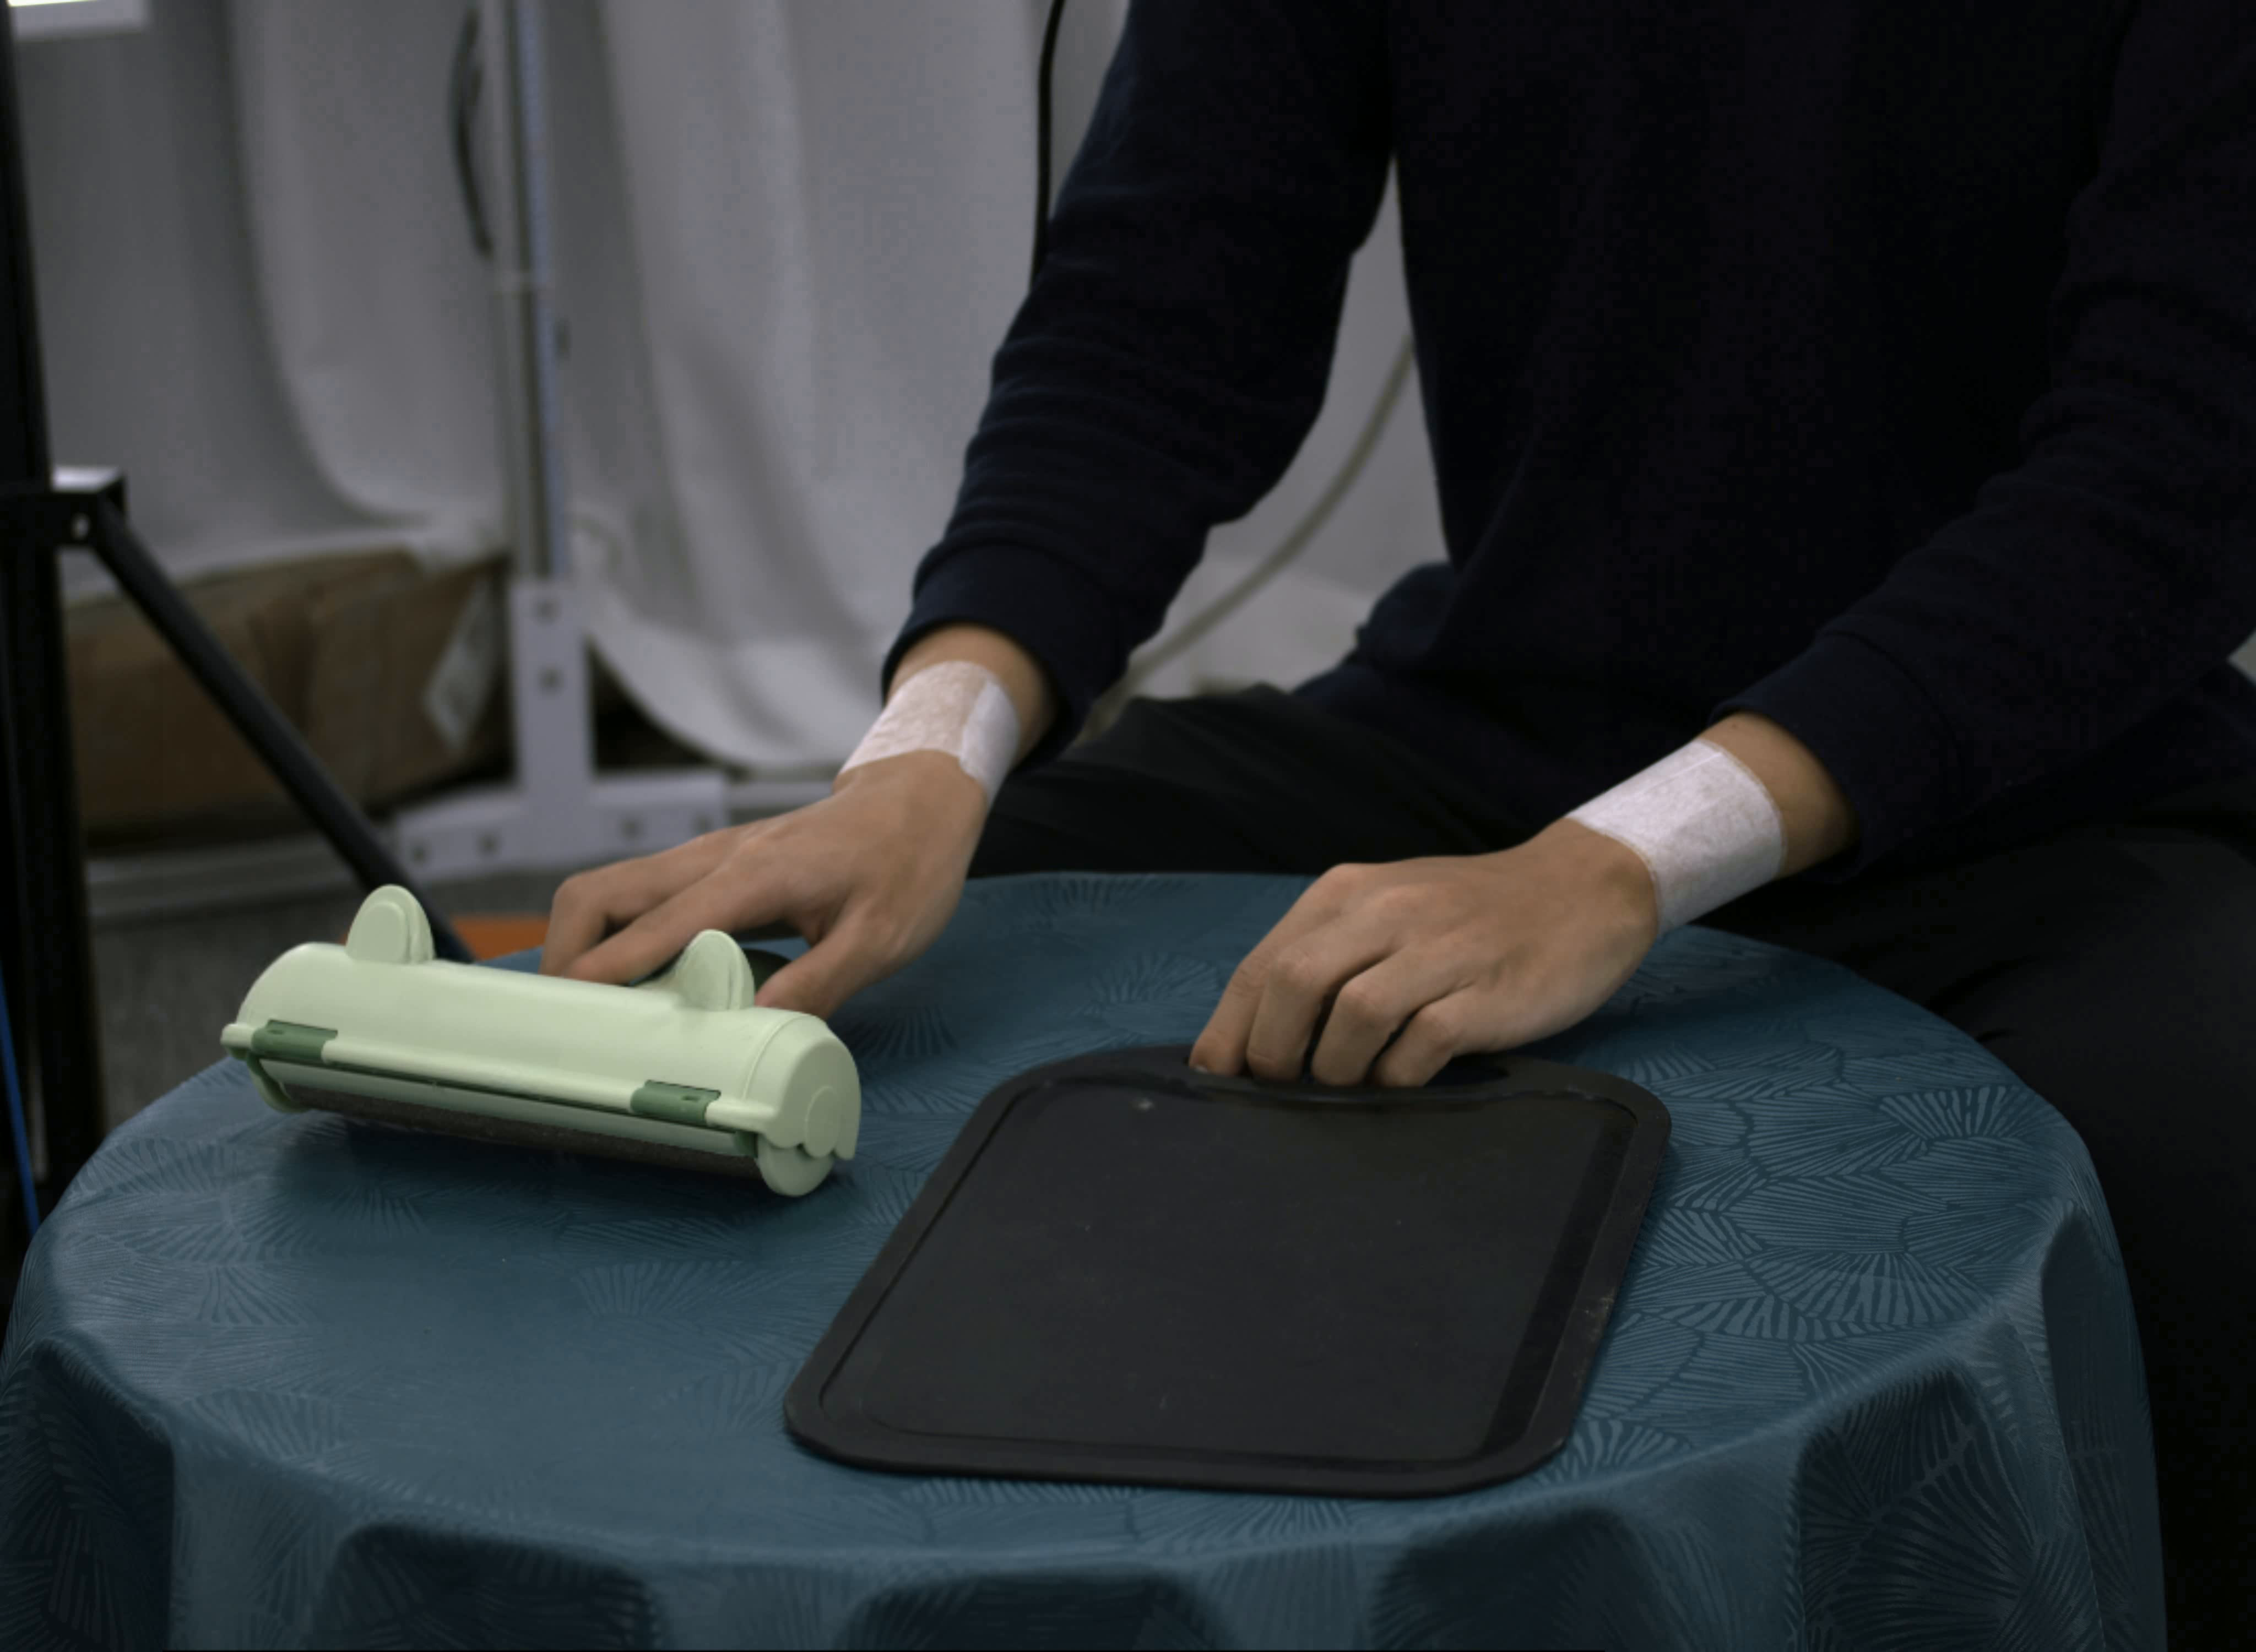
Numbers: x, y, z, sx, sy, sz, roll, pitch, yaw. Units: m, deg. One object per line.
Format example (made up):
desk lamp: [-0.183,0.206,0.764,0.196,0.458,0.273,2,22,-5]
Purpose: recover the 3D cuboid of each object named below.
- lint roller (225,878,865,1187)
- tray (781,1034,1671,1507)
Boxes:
lint roller: [-0.151,0.044,1.650,0.202,0.082,0.181,7,25,28]
tray: [0.036,0.115,1.492,0.212,0.010,0.323,2,19,14]
